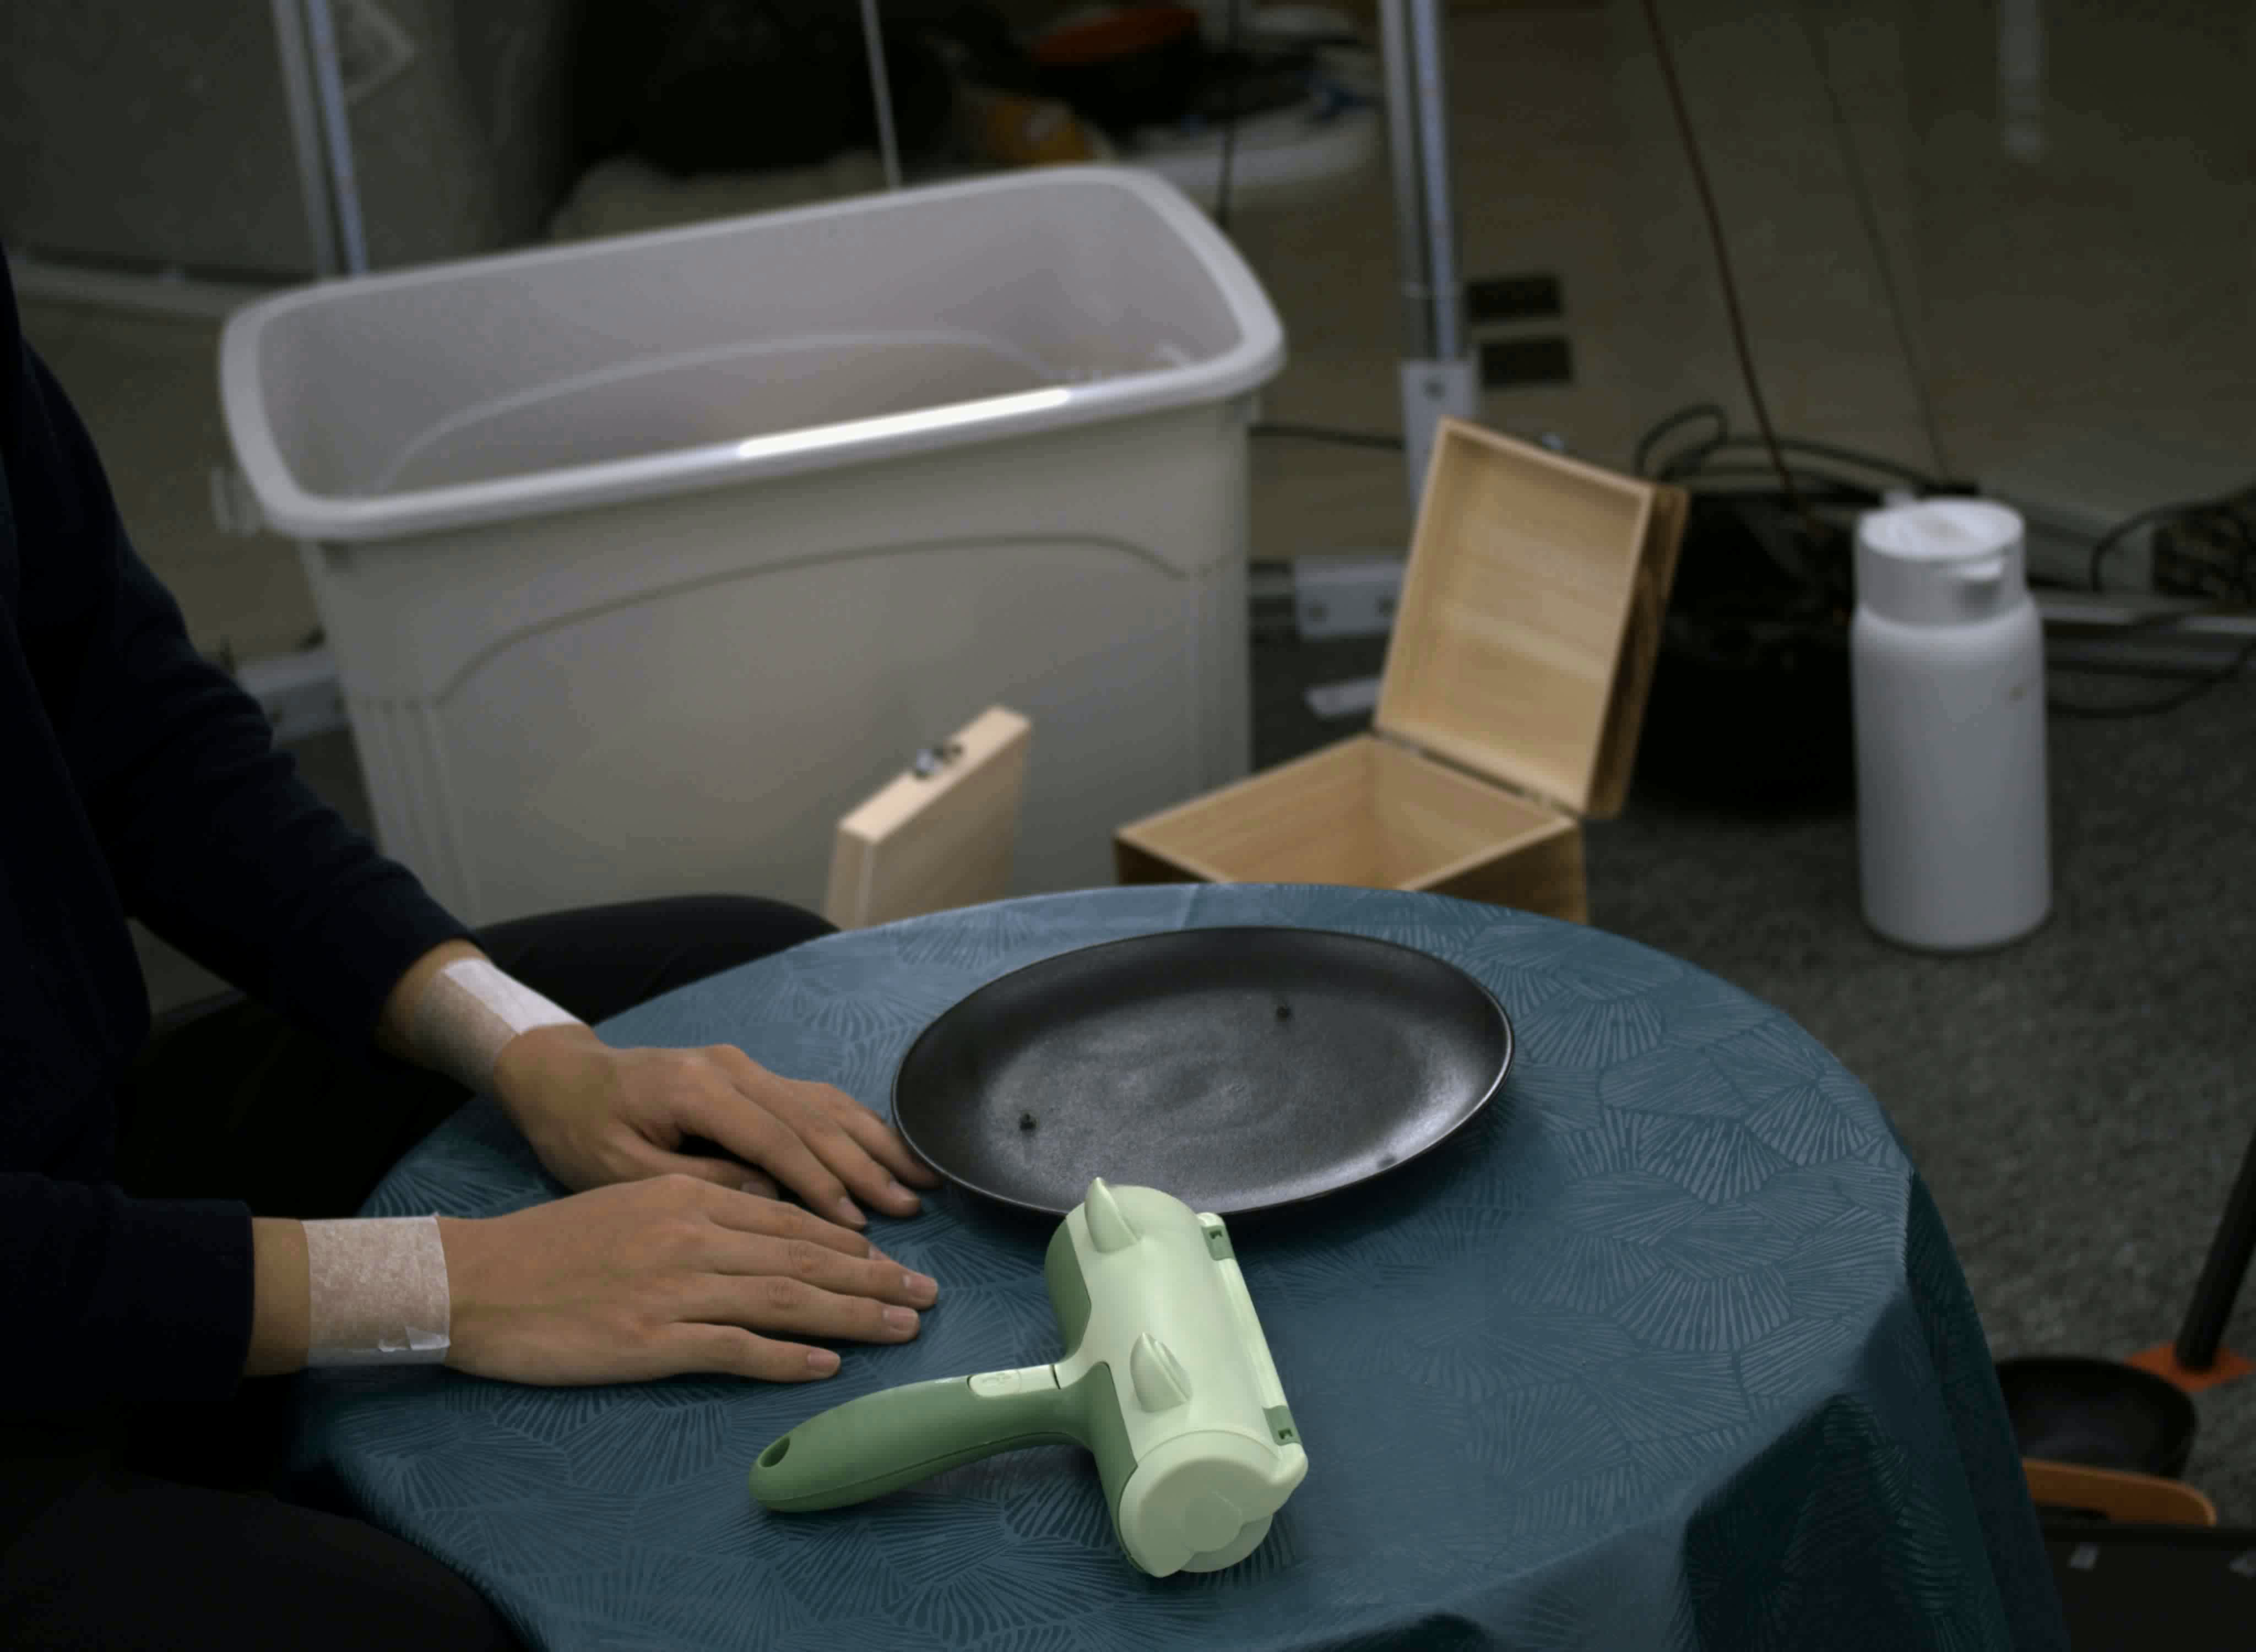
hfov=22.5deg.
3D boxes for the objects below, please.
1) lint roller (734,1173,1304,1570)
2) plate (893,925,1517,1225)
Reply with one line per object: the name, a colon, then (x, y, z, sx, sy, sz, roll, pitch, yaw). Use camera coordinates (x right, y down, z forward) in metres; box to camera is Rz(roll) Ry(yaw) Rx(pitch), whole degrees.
lint roller: (-0.045, 0.185, 1.956, 0.183, 0.083, 0.196, -3, 24, -8)
plate: (0.031, 0.101, 2.193, 0.244, 0.024, 0.241, -5, 25, 3)
